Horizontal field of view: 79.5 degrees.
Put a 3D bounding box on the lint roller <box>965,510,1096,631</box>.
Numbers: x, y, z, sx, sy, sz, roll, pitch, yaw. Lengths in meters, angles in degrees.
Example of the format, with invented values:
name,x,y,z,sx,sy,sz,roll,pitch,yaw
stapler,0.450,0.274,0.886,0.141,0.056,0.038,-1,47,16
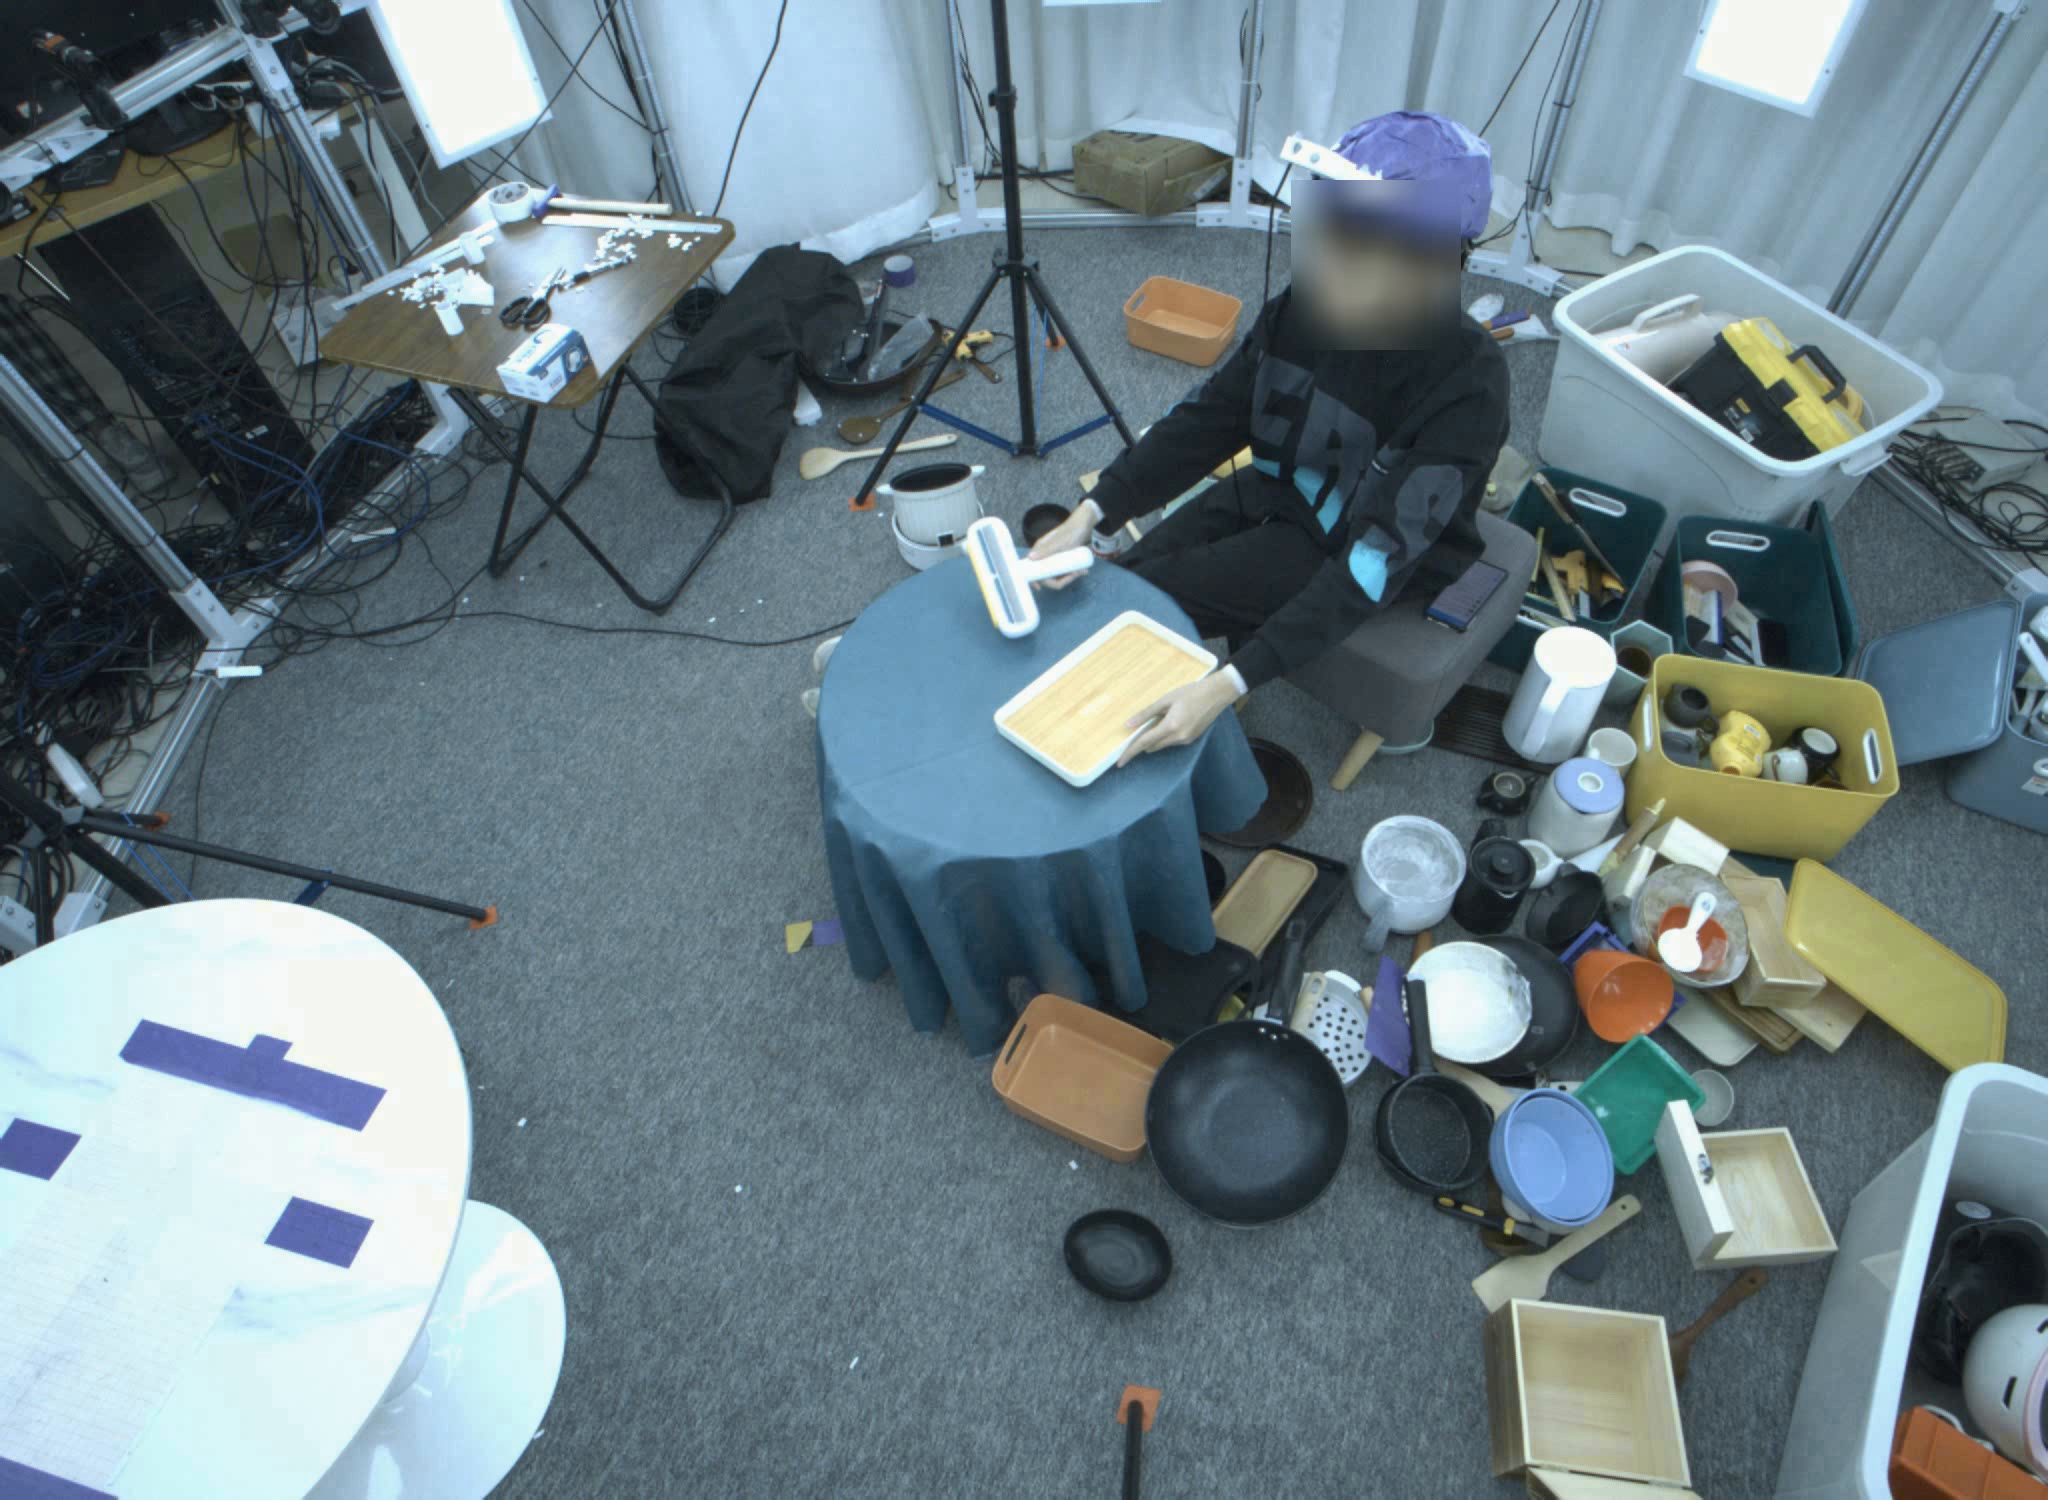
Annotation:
name,x,y,z,sx,sy,sz,roll,pitch,yaw
lint roller,0.020,-0.288,1.899,0.193,0.074,0.191,-15,78,-9

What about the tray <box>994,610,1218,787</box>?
name,x,y,z,sx,sy,sz,roll,pitch,yaw
tray,0.122,-0.081,1.805,0.302,0.028,0.187,-39,55,-23
